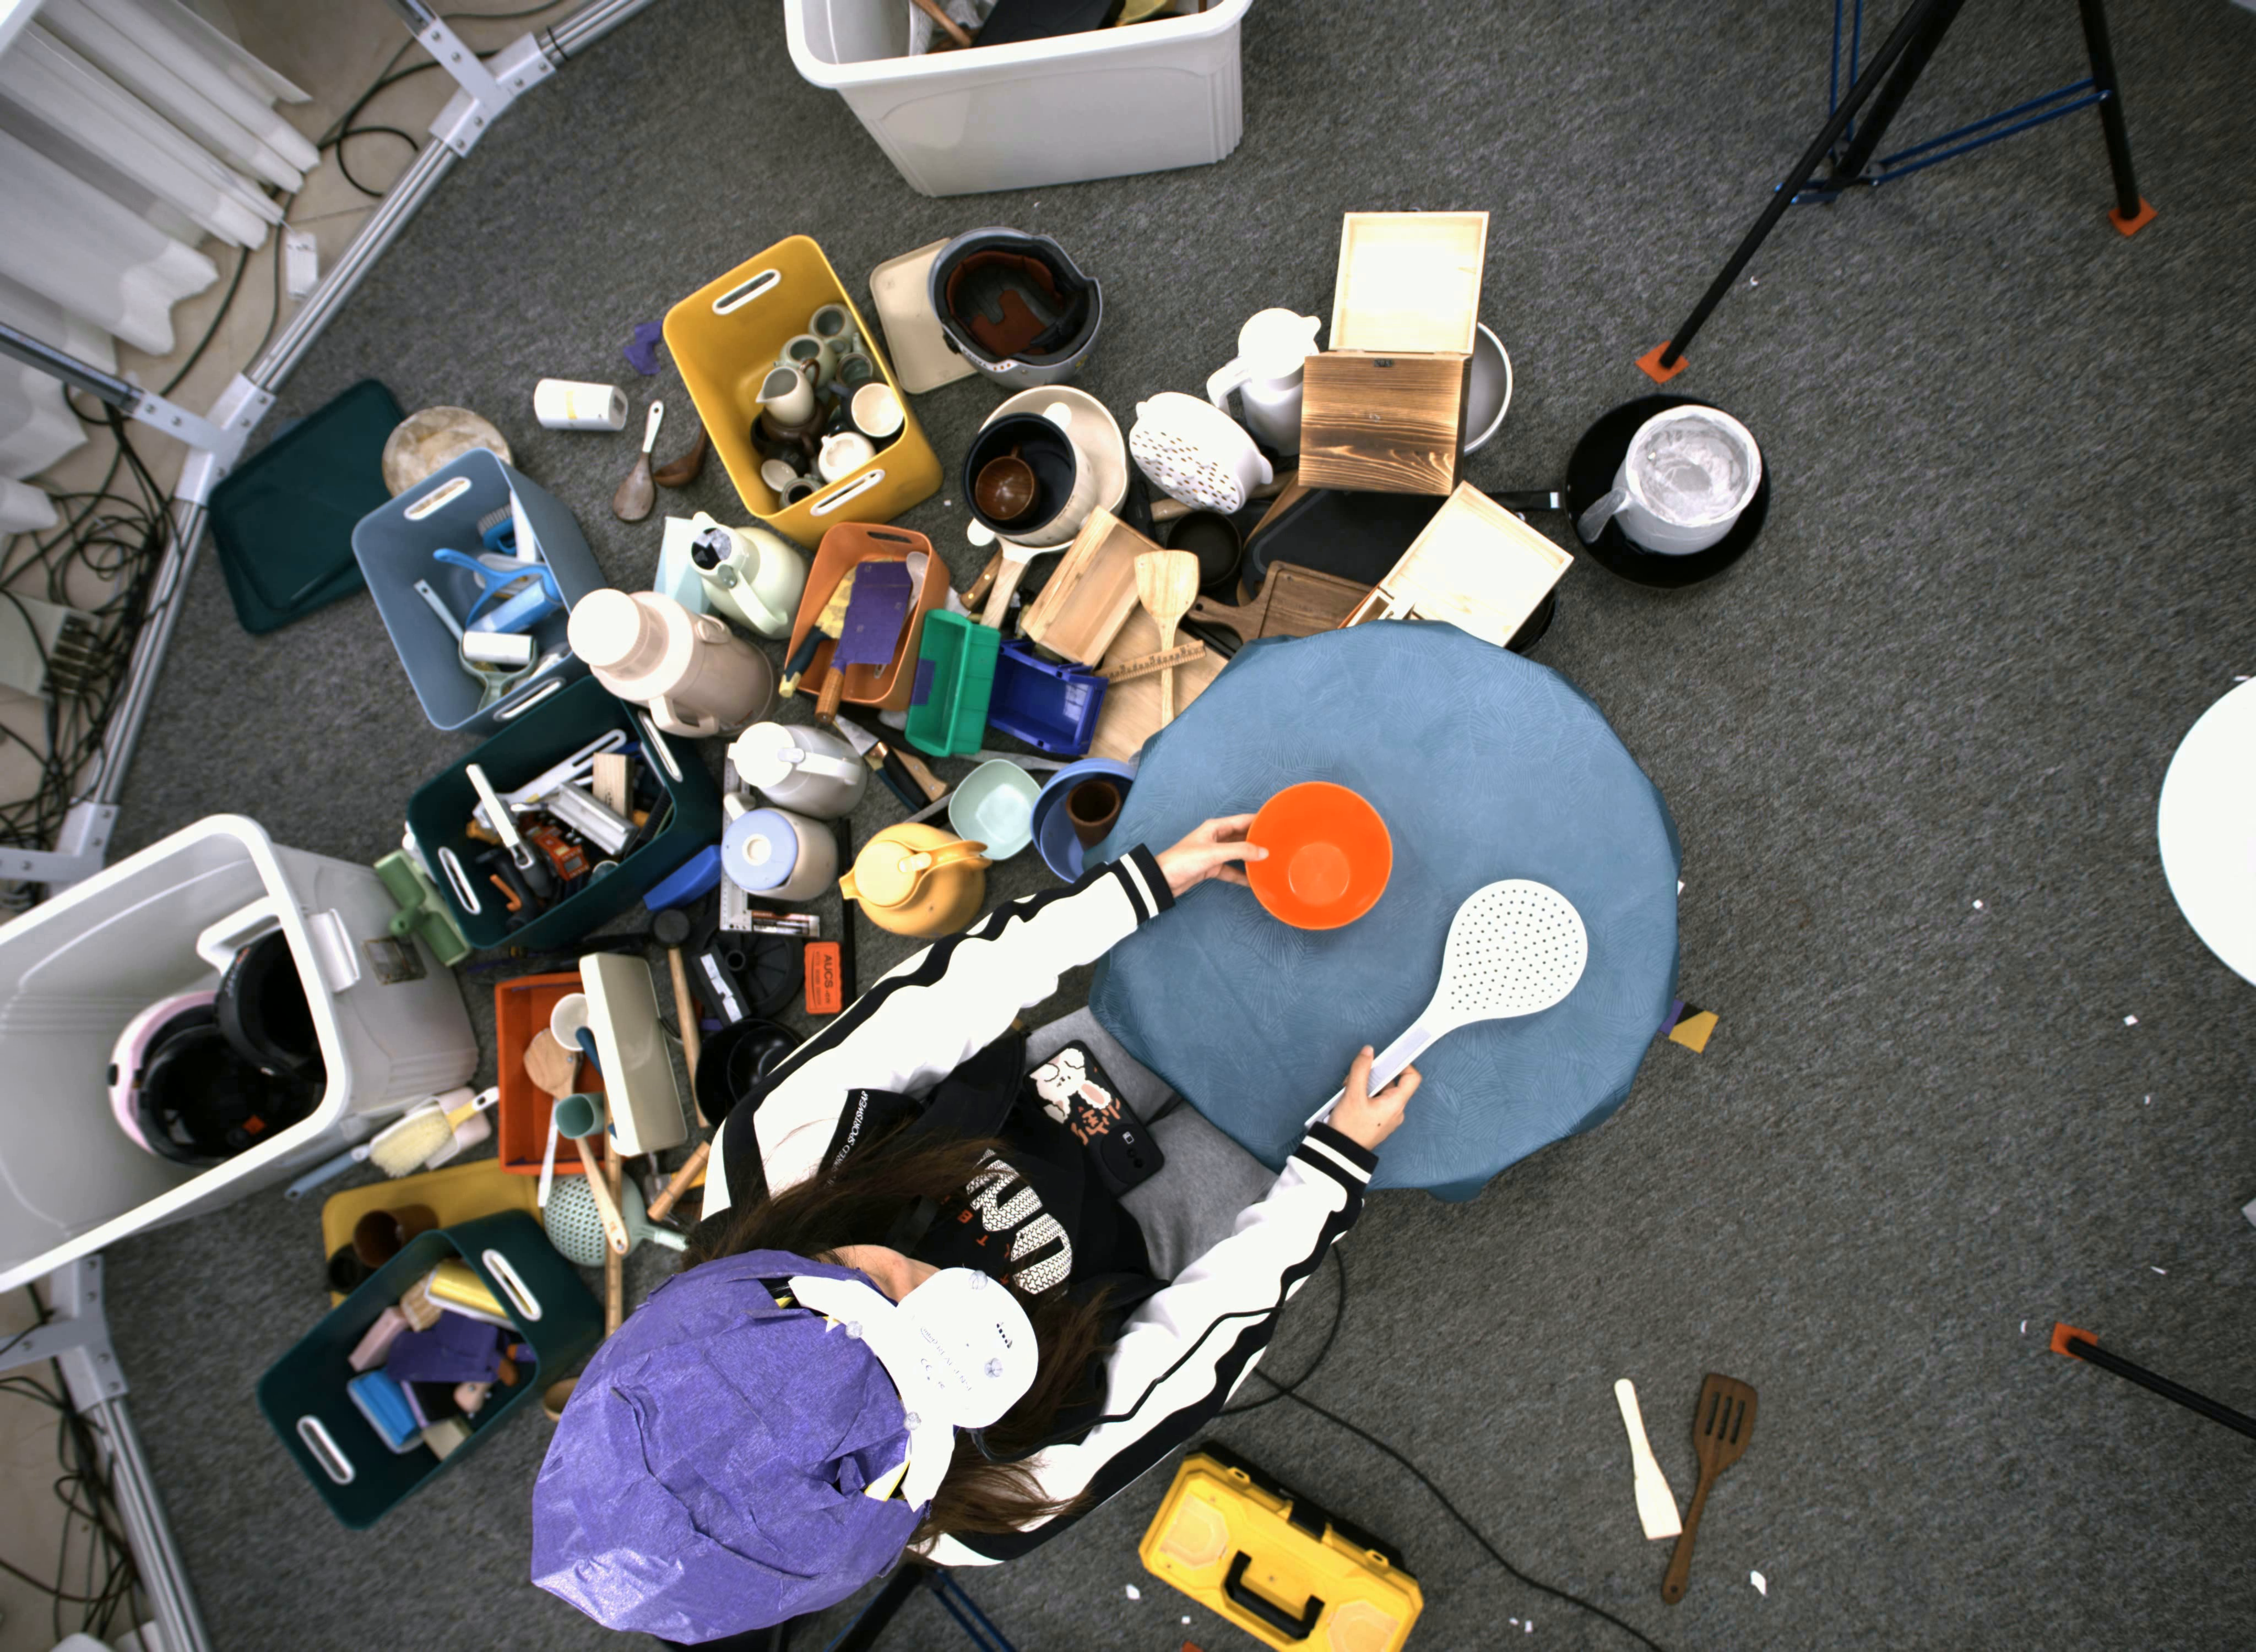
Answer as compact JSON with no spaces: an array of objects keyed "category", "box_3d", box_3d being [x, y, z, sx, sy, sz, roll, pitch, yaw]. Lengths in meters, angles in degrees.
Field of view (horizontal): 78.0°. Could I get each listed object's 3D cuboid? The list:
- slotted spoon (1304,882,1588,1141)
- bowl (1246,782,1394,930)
[{"category":"slotted spoon","box_3d":[0.317,0.196,1.409,0.350,0.046,0.135,-41,70,0]},{"category":"bowl","box_3d":[0.198,0.034,1.424,0.148,0.105,0.147,-1,86,10]}]
